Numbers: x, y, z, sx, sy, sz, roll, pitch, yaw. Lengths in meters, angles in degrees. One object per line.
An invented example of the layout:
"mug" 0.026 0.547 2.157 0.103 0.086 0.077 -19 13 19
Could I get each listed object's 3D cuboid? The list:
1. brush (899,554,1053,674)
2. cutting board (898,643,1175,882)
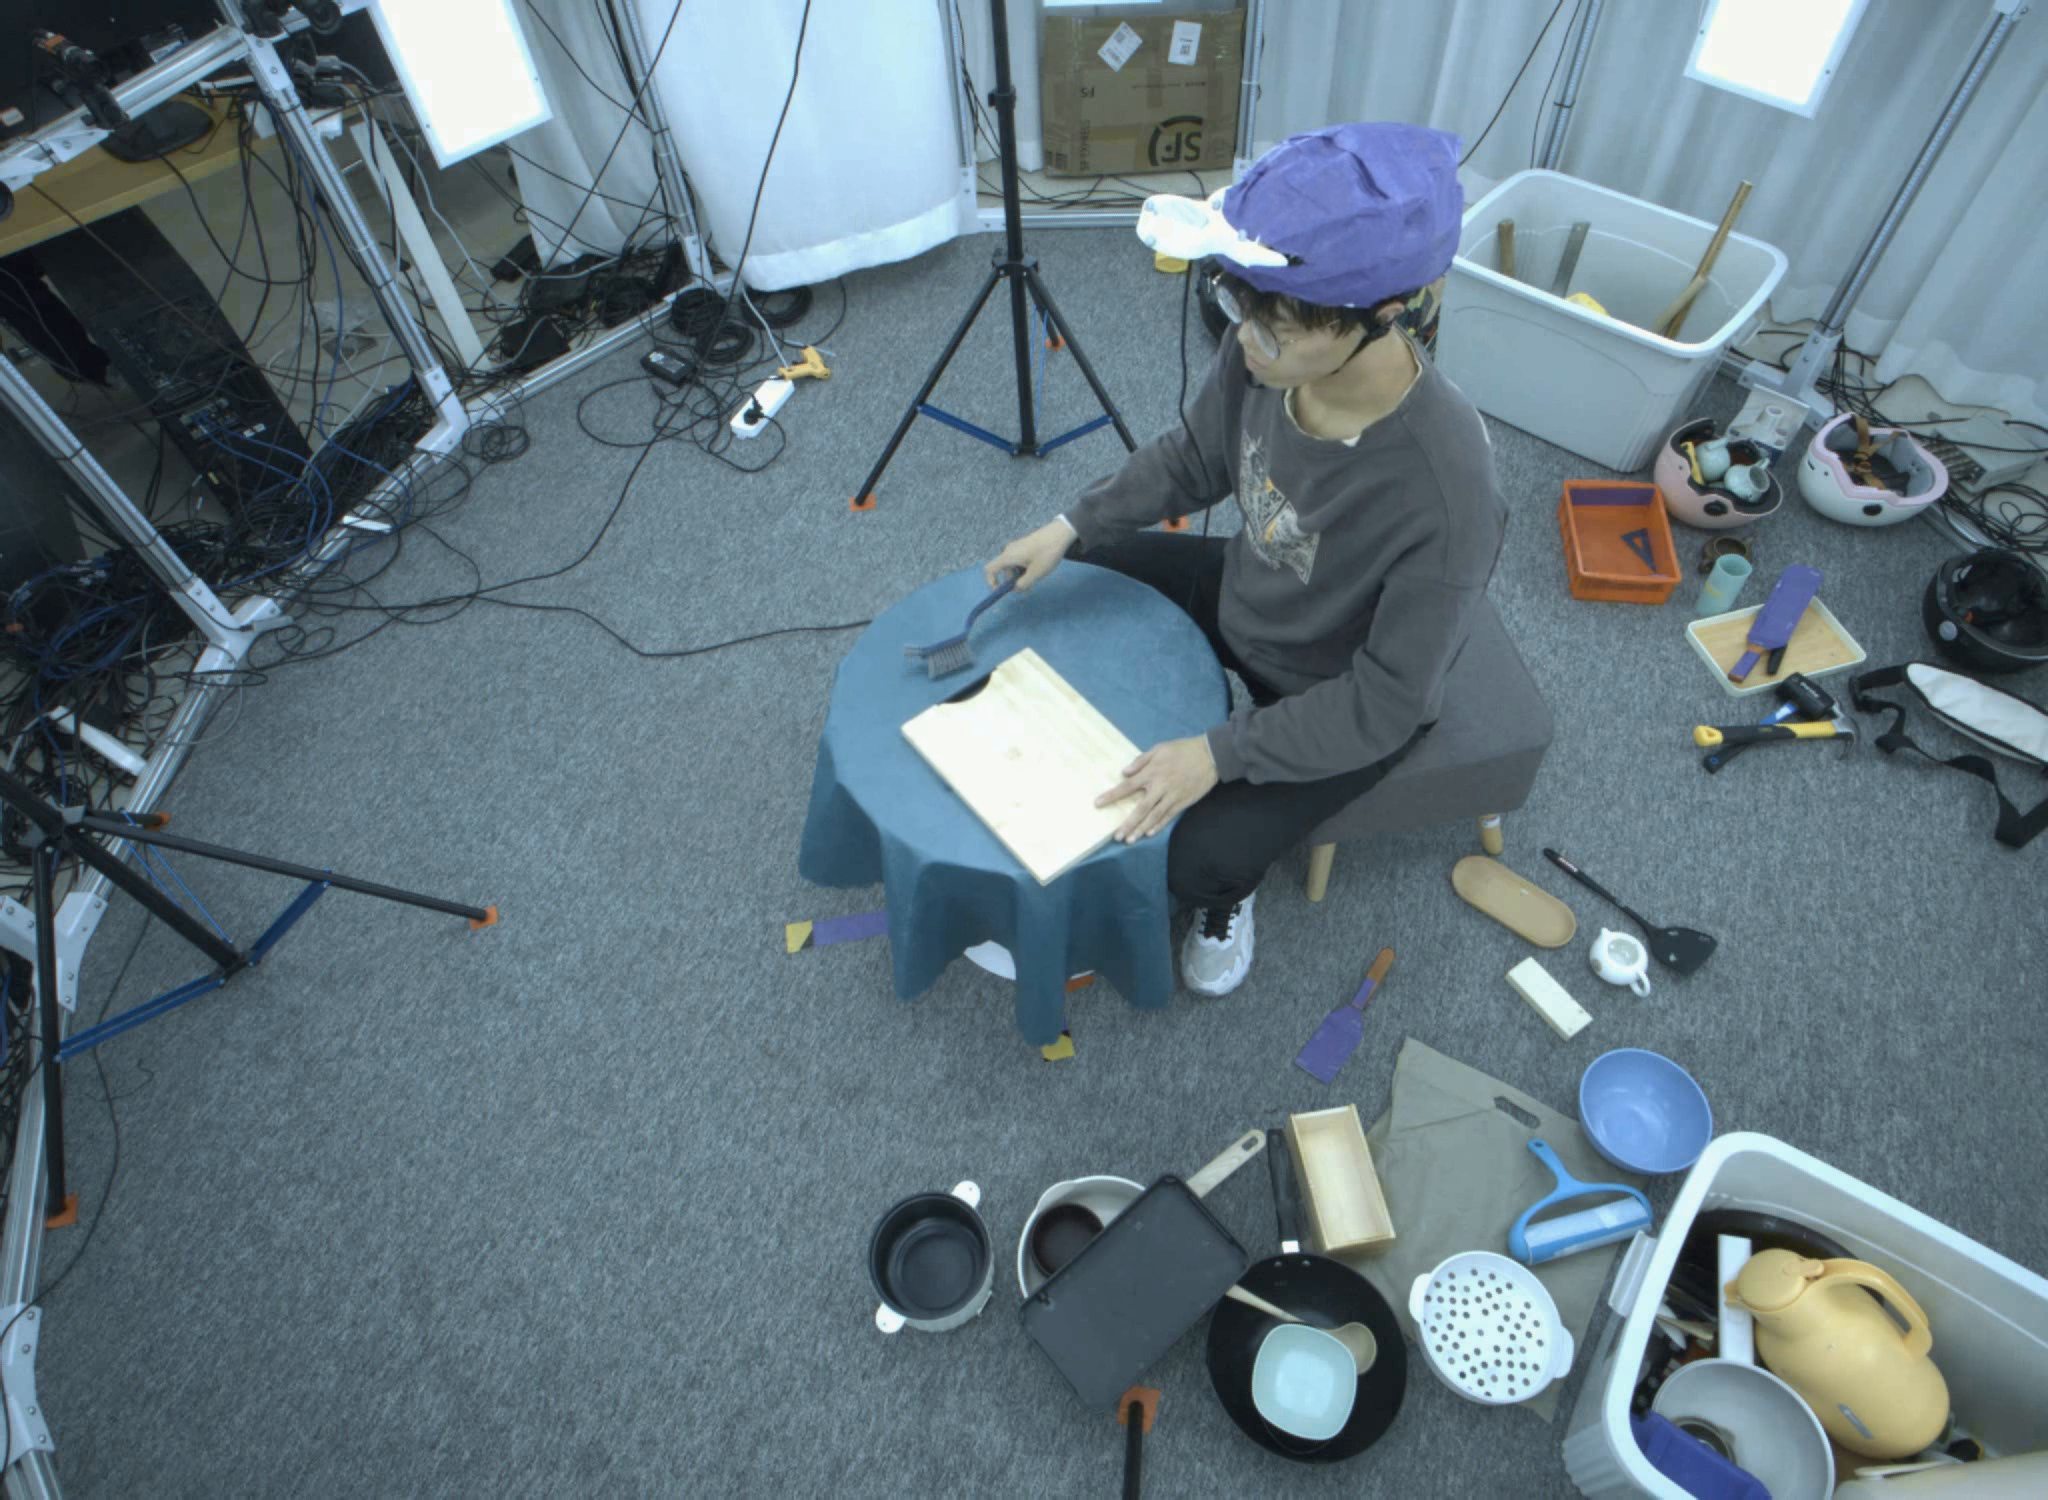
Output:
"brush" -0.069 -0.224 1.891 0.095 0.033 0.274 42 76 2
"cutting board" 0.013 0.009 1.768 0.253 0.024 0.342 -34 60 -21
